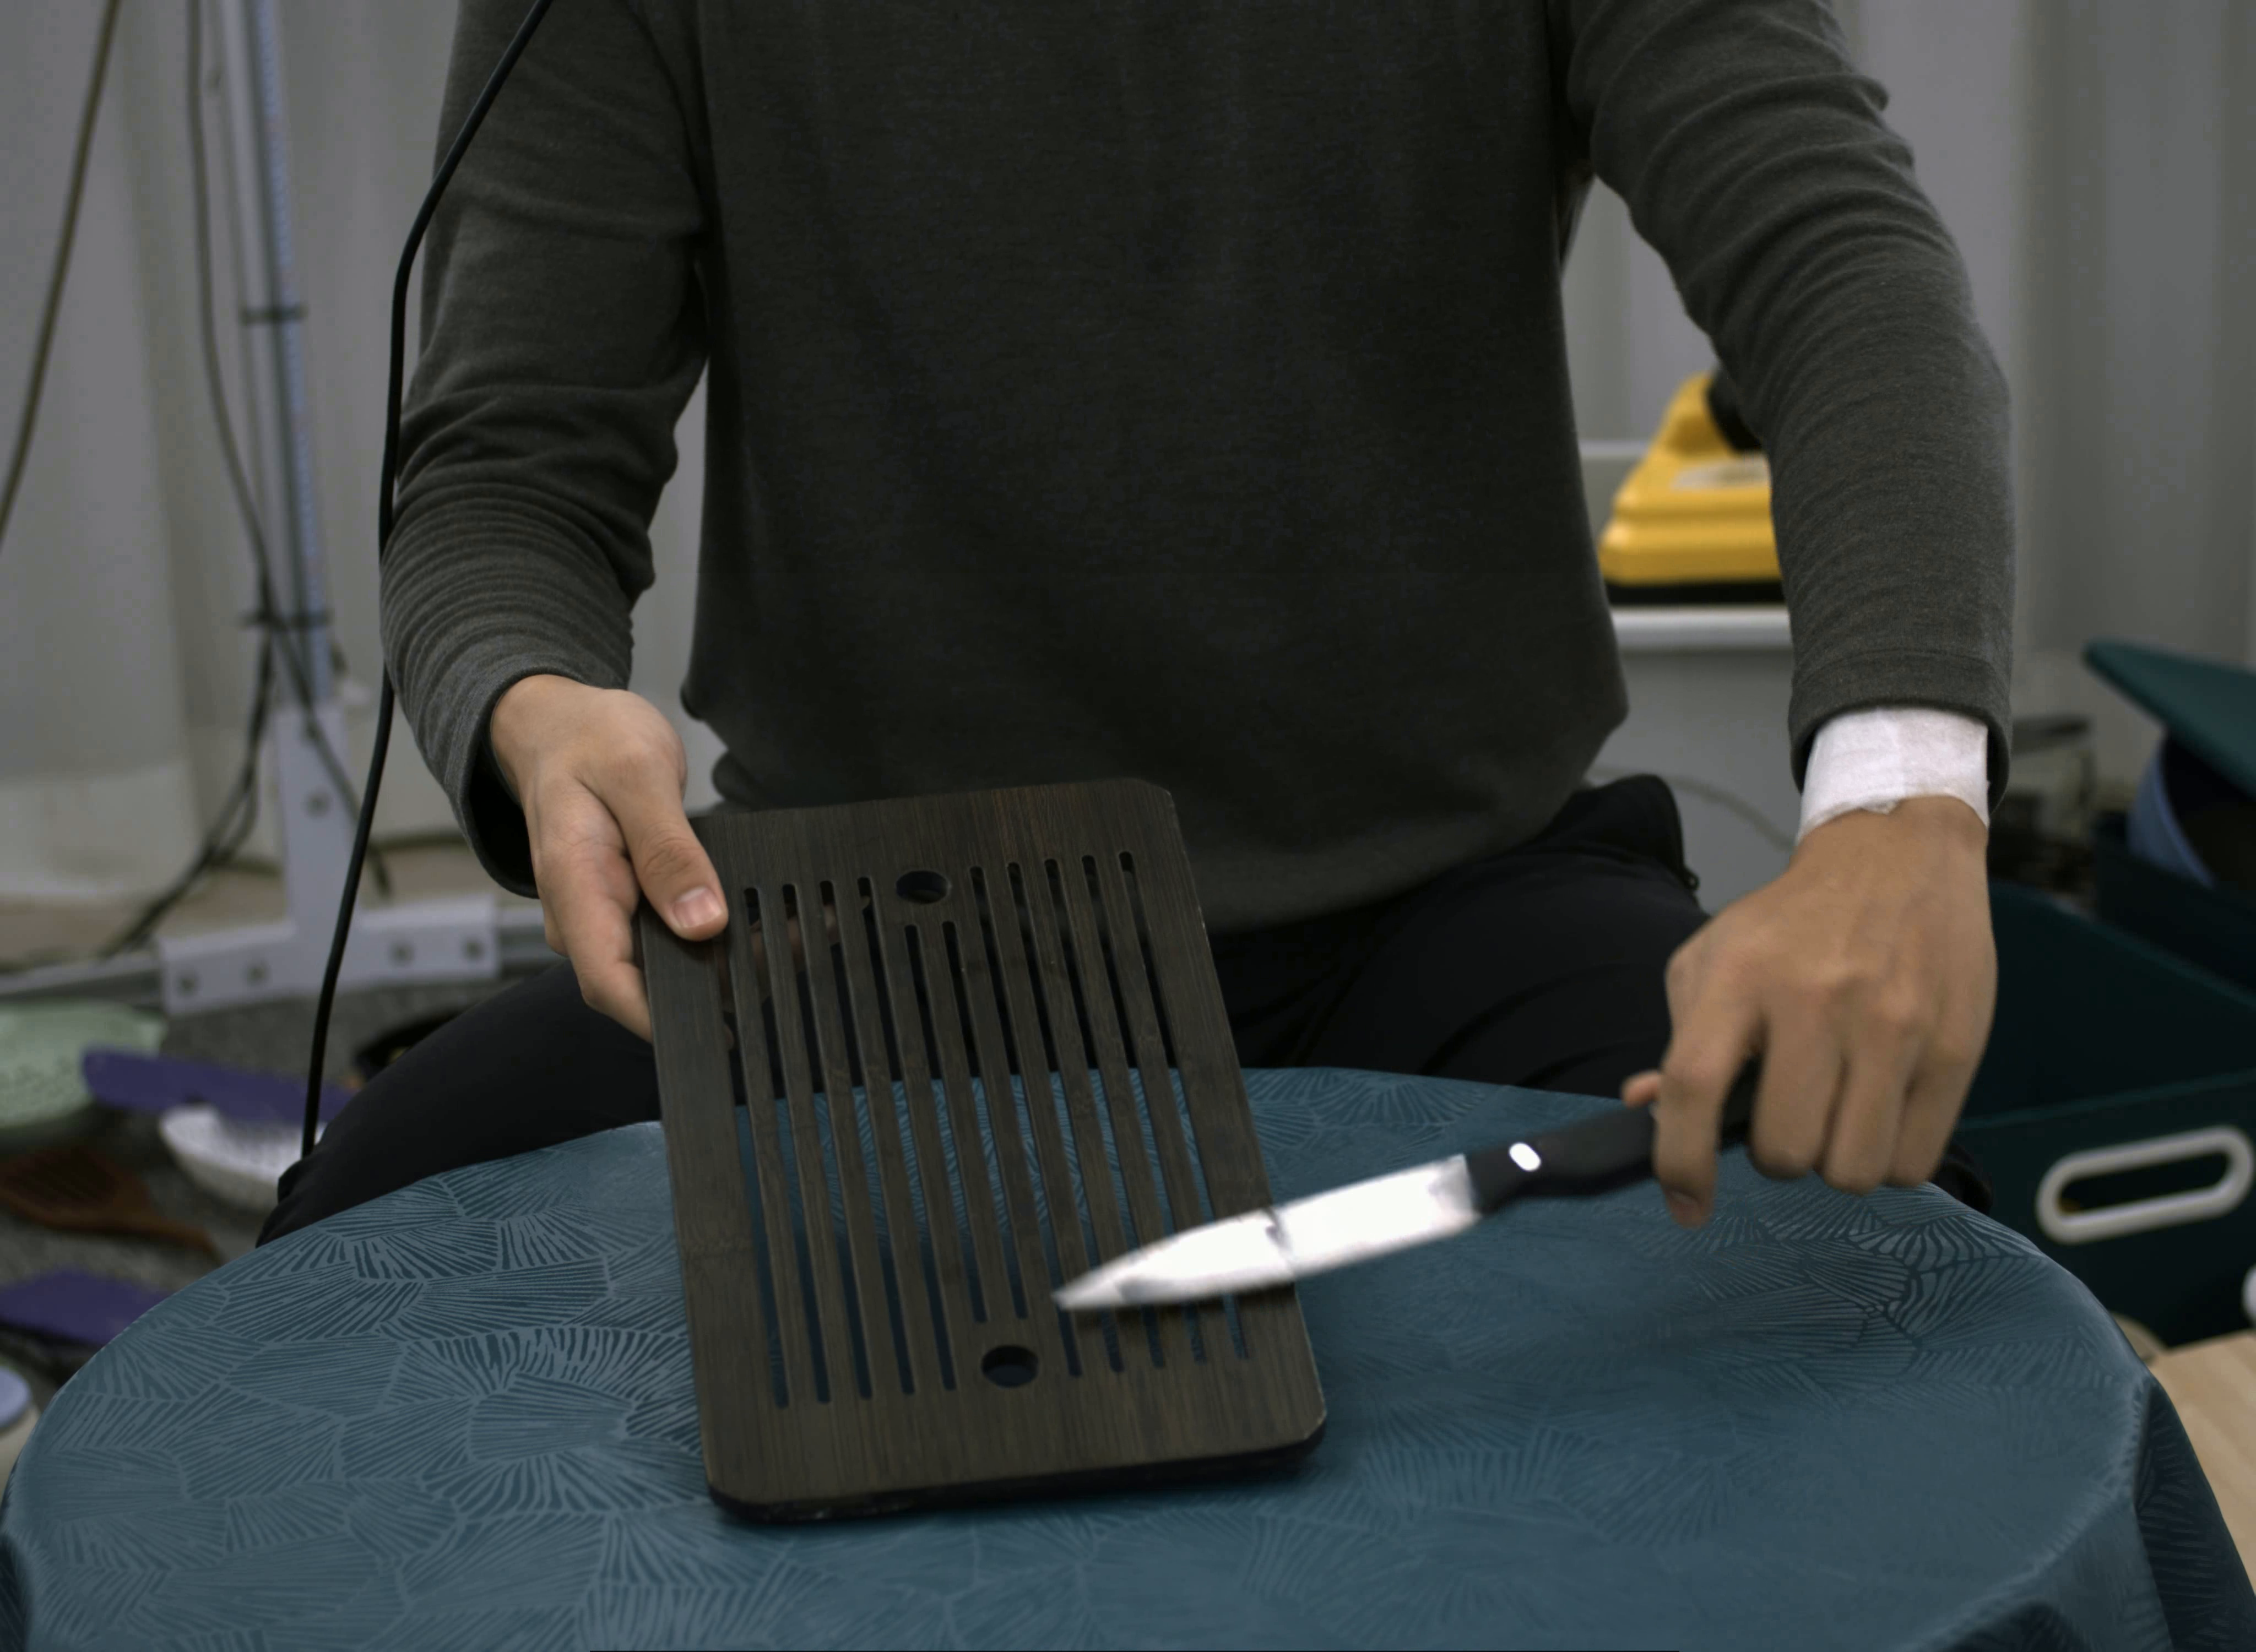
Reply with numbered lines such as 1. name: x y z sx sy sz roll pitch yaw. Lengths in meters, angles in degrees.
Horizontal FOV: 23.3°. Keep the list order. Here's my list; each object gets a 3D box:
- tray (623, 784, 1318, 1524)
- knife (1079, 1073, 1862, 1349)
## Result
1. tray: -0.052 0.089 1.585 0.169 0.018 0.310 -5 37 -6
2. knife: 0.096 0.108 1.529 0.237 0.016 0.025 -16 56 -15
